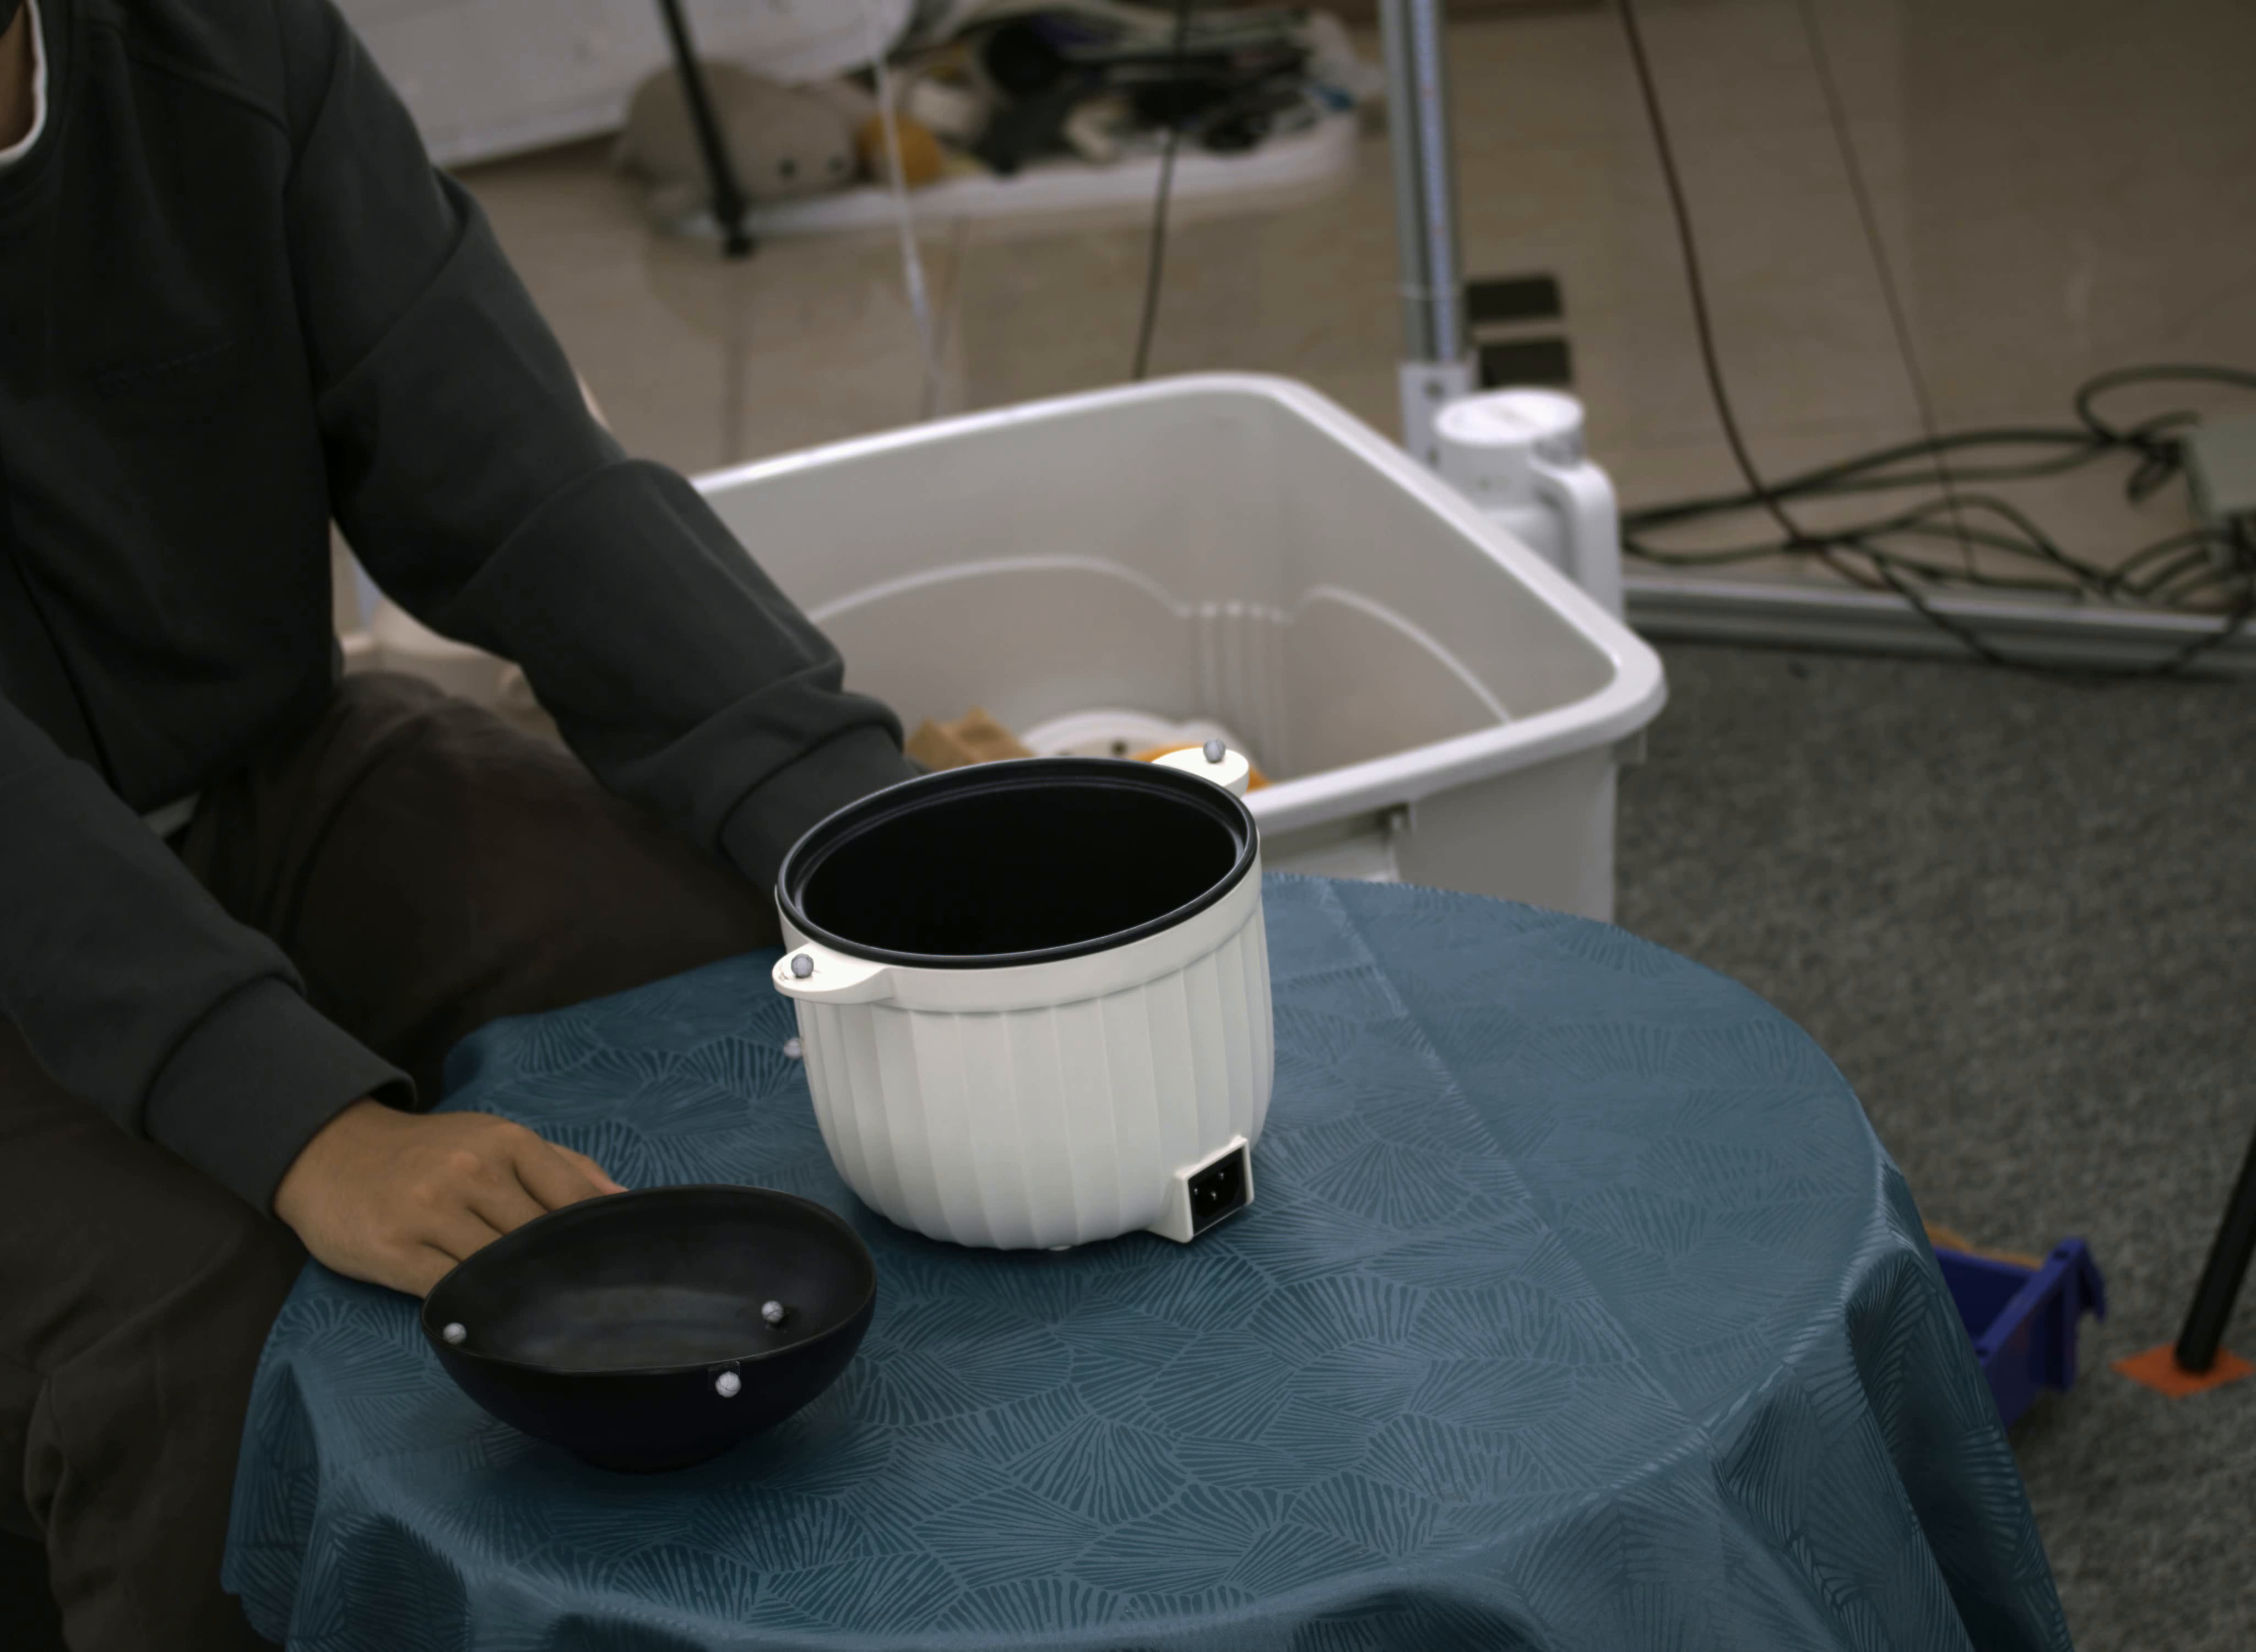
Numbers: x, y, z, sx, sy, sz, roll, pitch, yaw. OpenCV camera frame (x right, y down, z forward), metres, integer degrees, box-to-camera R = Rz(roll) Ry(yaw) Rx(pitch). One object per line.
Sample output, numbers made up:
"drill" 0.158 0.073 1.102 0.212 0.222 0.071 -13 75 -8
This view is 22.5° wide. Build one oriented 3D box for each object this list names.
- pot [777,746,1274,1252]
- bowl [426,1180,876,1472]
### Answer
"pot" -0.039 0.070 2.140 0.189 0.145 0.238 19 34 38
"bowl" -0.167 0.185 2.010 0.170 0.068 0.135 2 26 21
